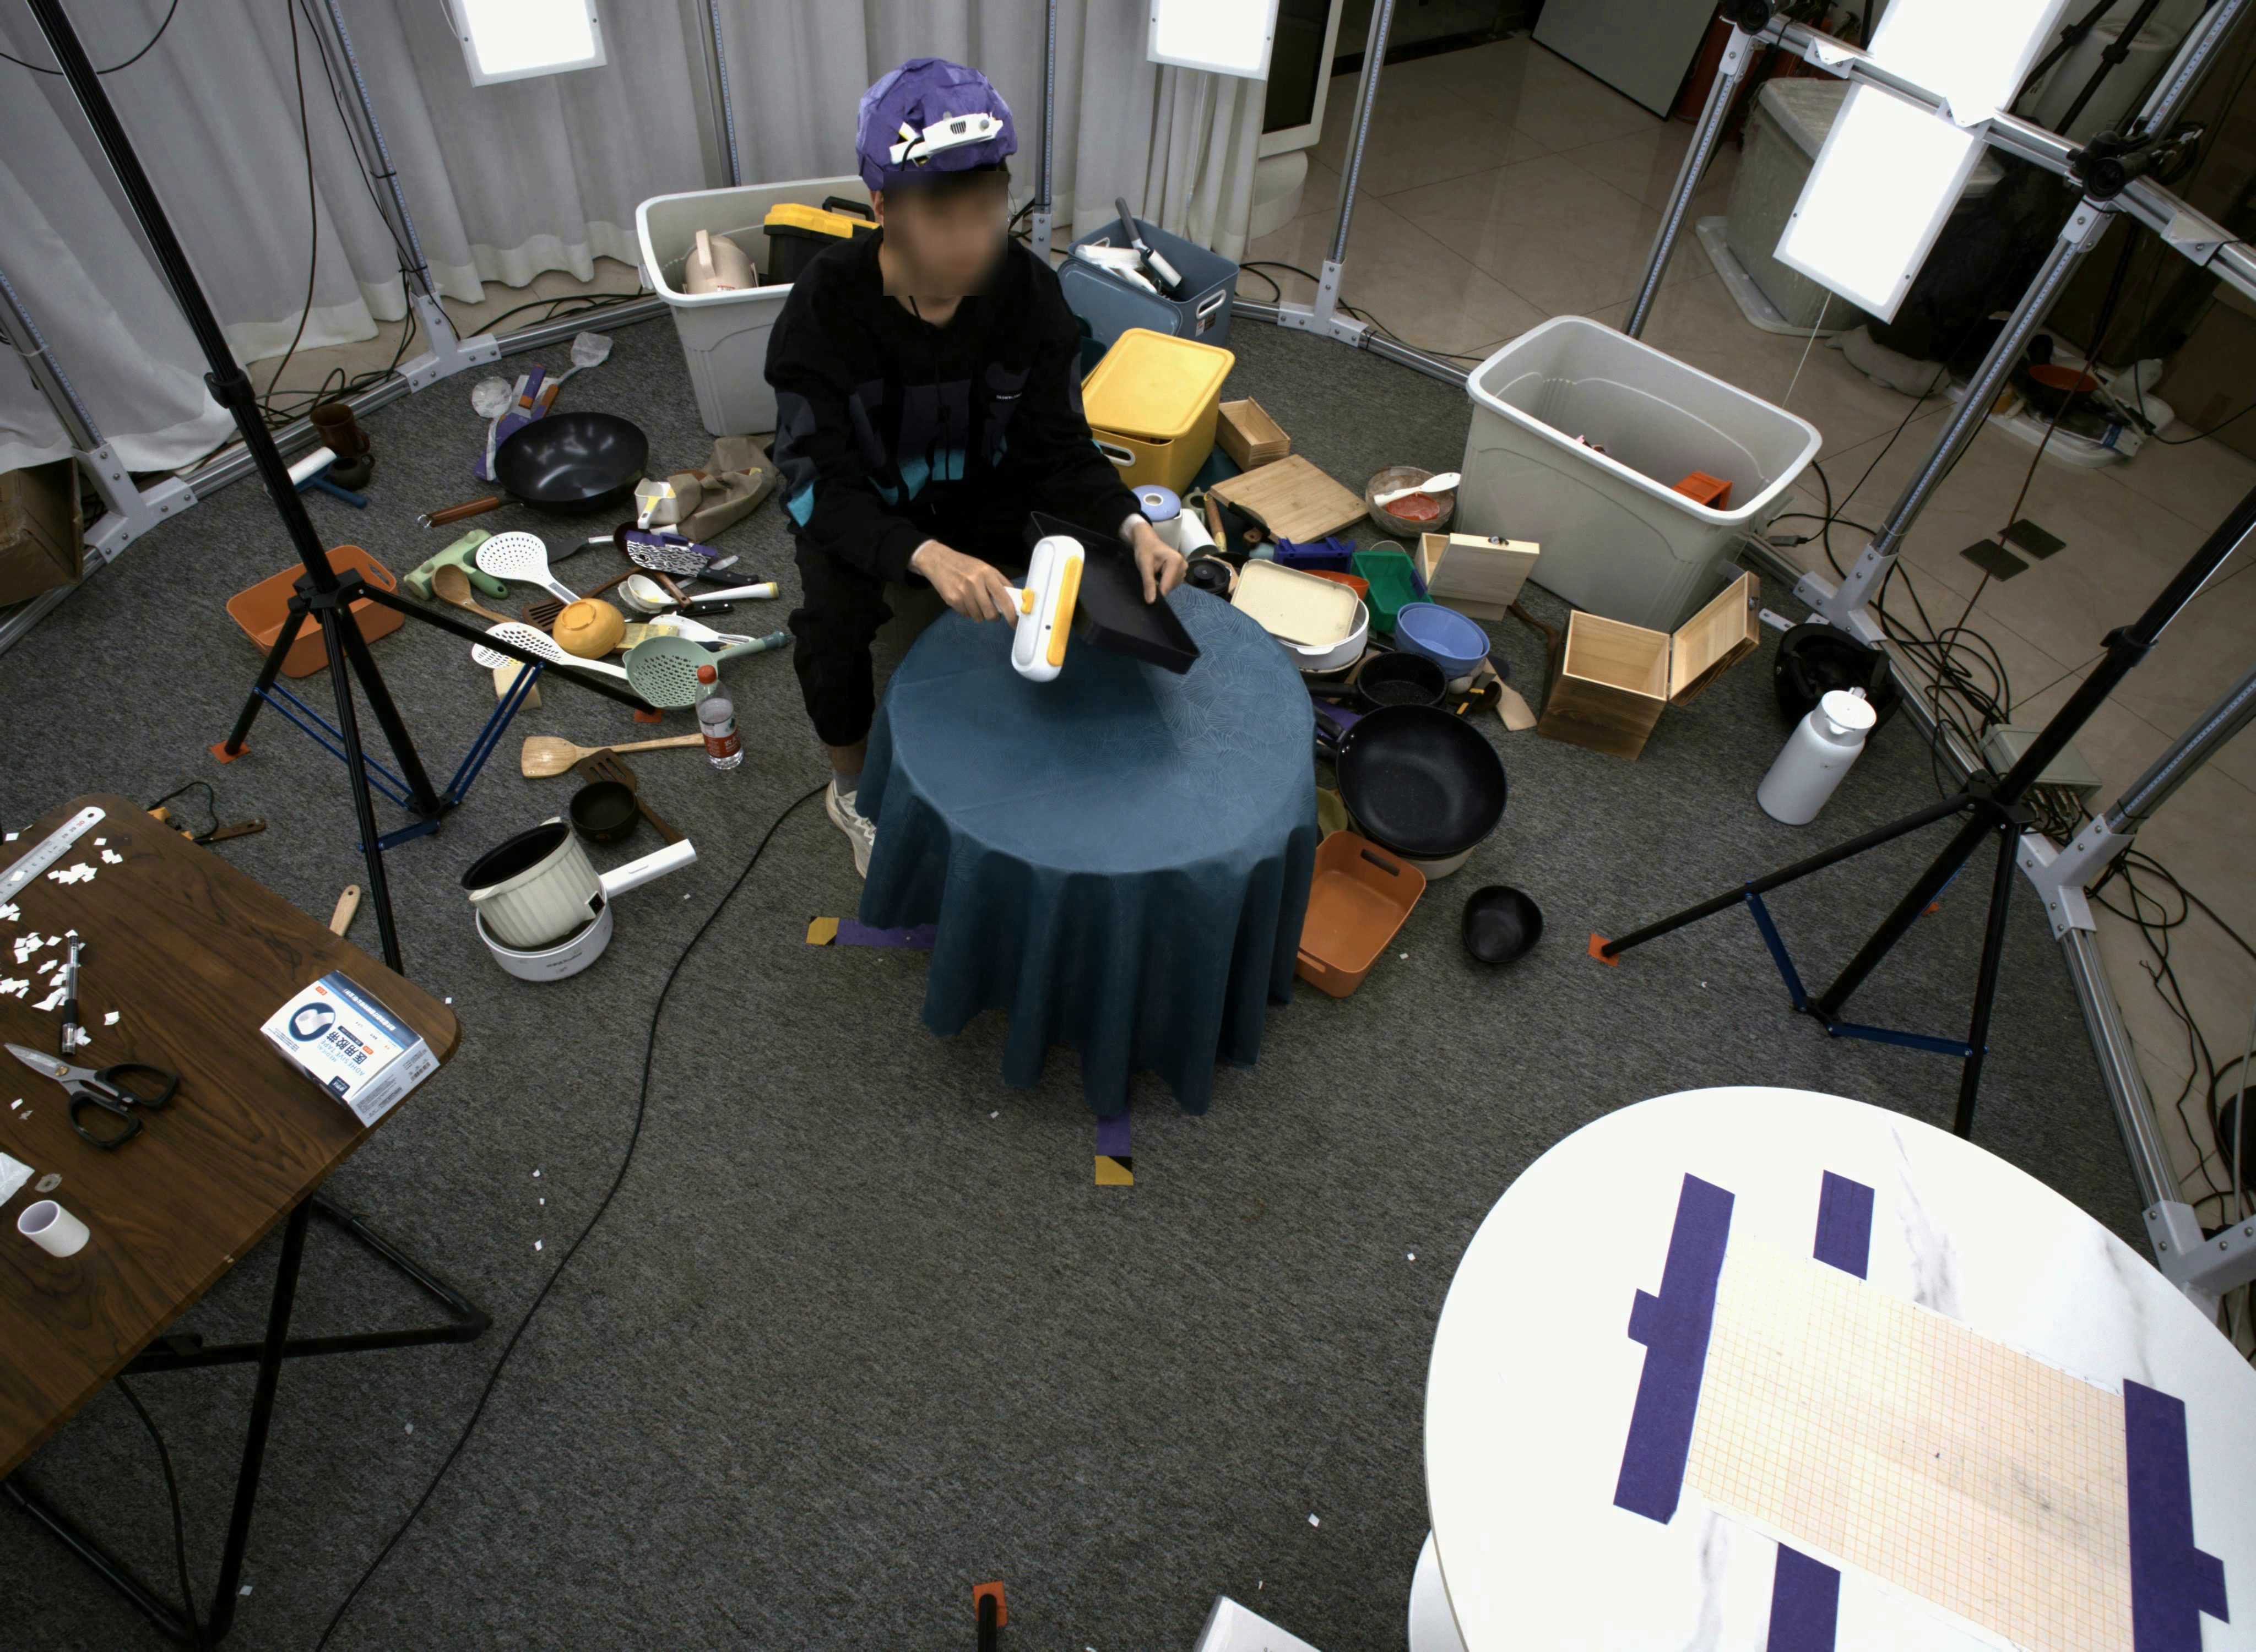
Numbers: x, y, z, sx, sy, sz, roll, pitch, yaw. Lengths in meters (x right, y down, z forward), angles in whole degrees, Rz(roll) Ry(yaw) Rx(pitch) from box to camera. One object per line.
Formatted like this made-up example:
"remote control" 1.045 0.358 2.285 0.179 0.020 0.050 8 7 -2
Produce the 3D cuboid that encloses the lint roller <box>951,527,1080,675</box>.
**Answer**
"lint roller" -0.154 -0.305 1.727 0.194 0.192 0.074 10 6 41

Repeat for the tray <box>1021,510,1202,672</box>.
"tray" -0.028 -0.334 1.810 0.182 0.036 0.326 12 33 -33
